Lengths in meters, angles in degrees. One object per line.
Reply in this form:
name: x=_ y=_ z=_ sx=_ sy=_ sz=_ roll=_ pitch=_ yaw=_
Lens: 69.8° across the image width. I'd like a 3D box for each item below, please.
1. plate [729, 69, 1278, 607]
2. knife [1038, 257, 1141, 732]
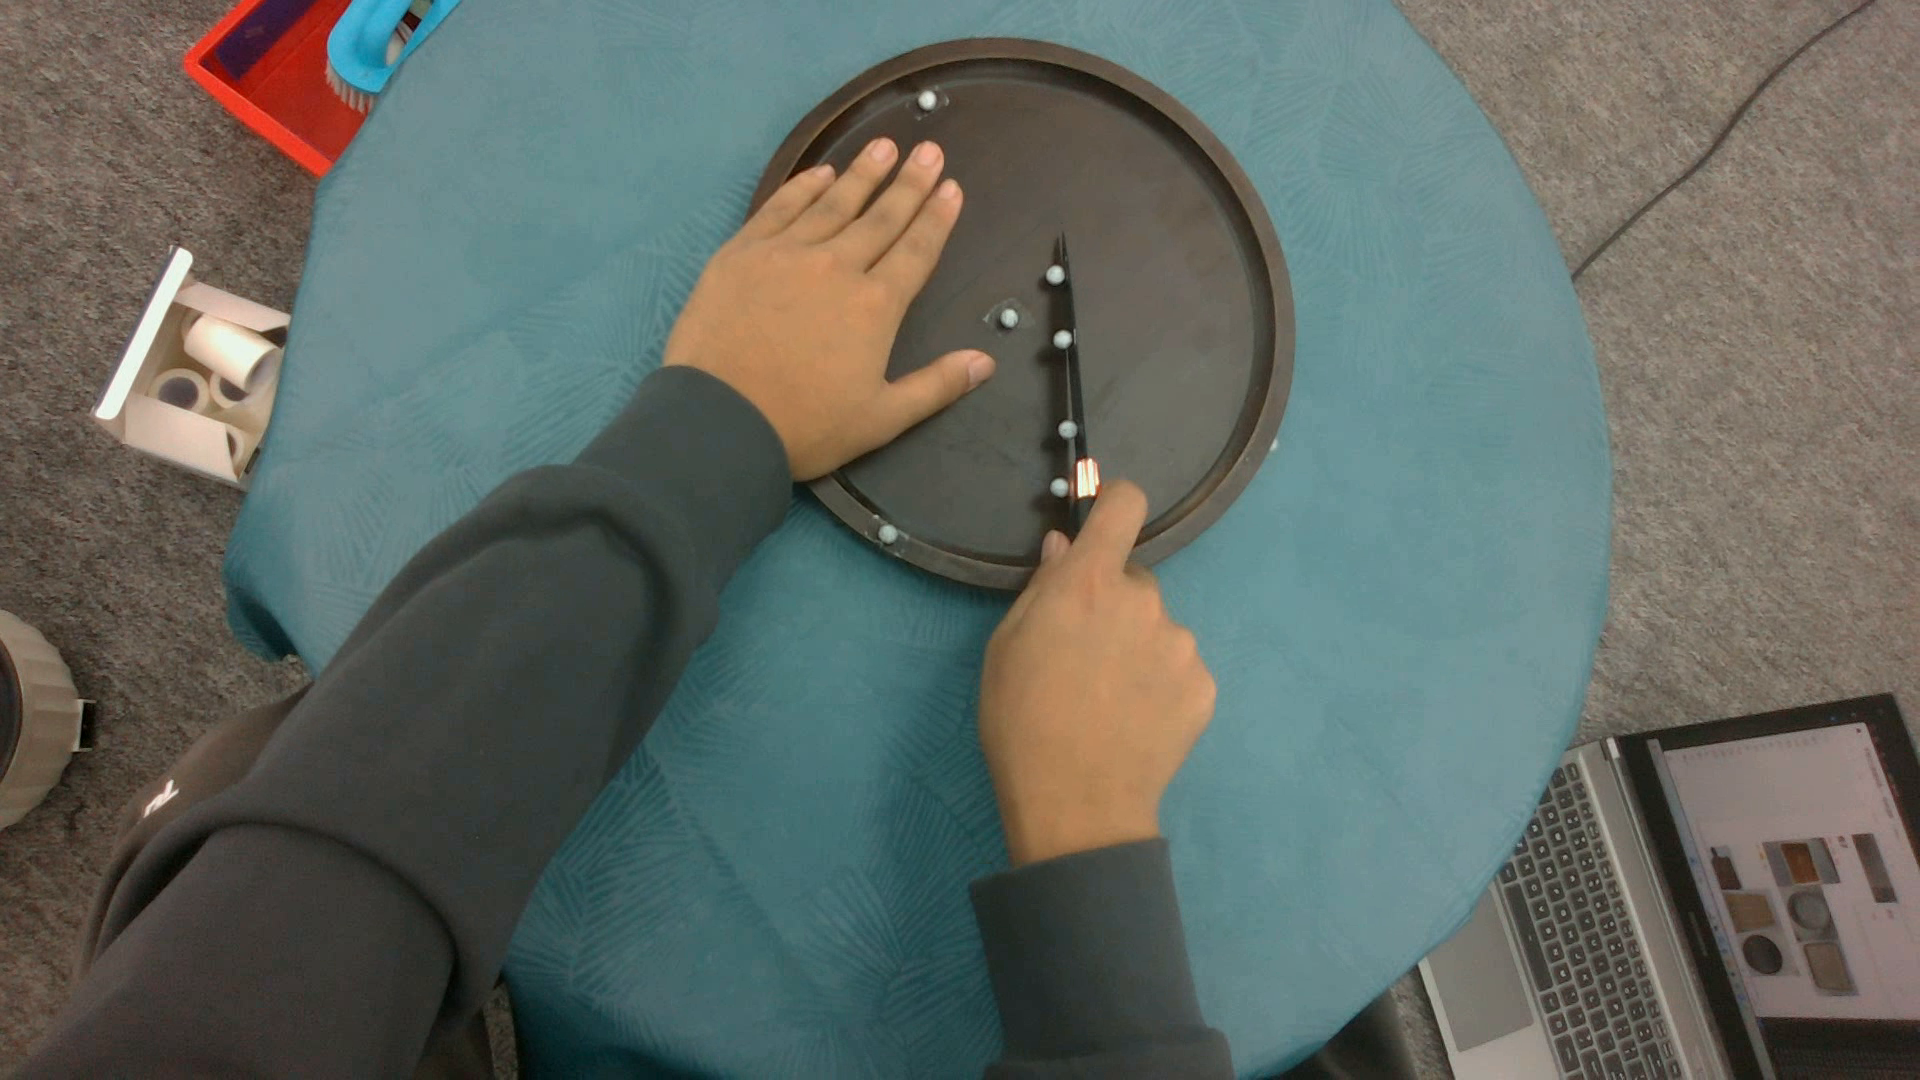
plate: x=0.023 y=-0.094 z=0.625 sx=0.255 sy=0.029 sz=0.255 roll=2 pitch=80 yaw=-10
knife: x=0.053 y=-0.027 z=0.602 sx=0.017 sy=0.026 sz=0.226 roll=-7 pitch=72 yaw=-2
